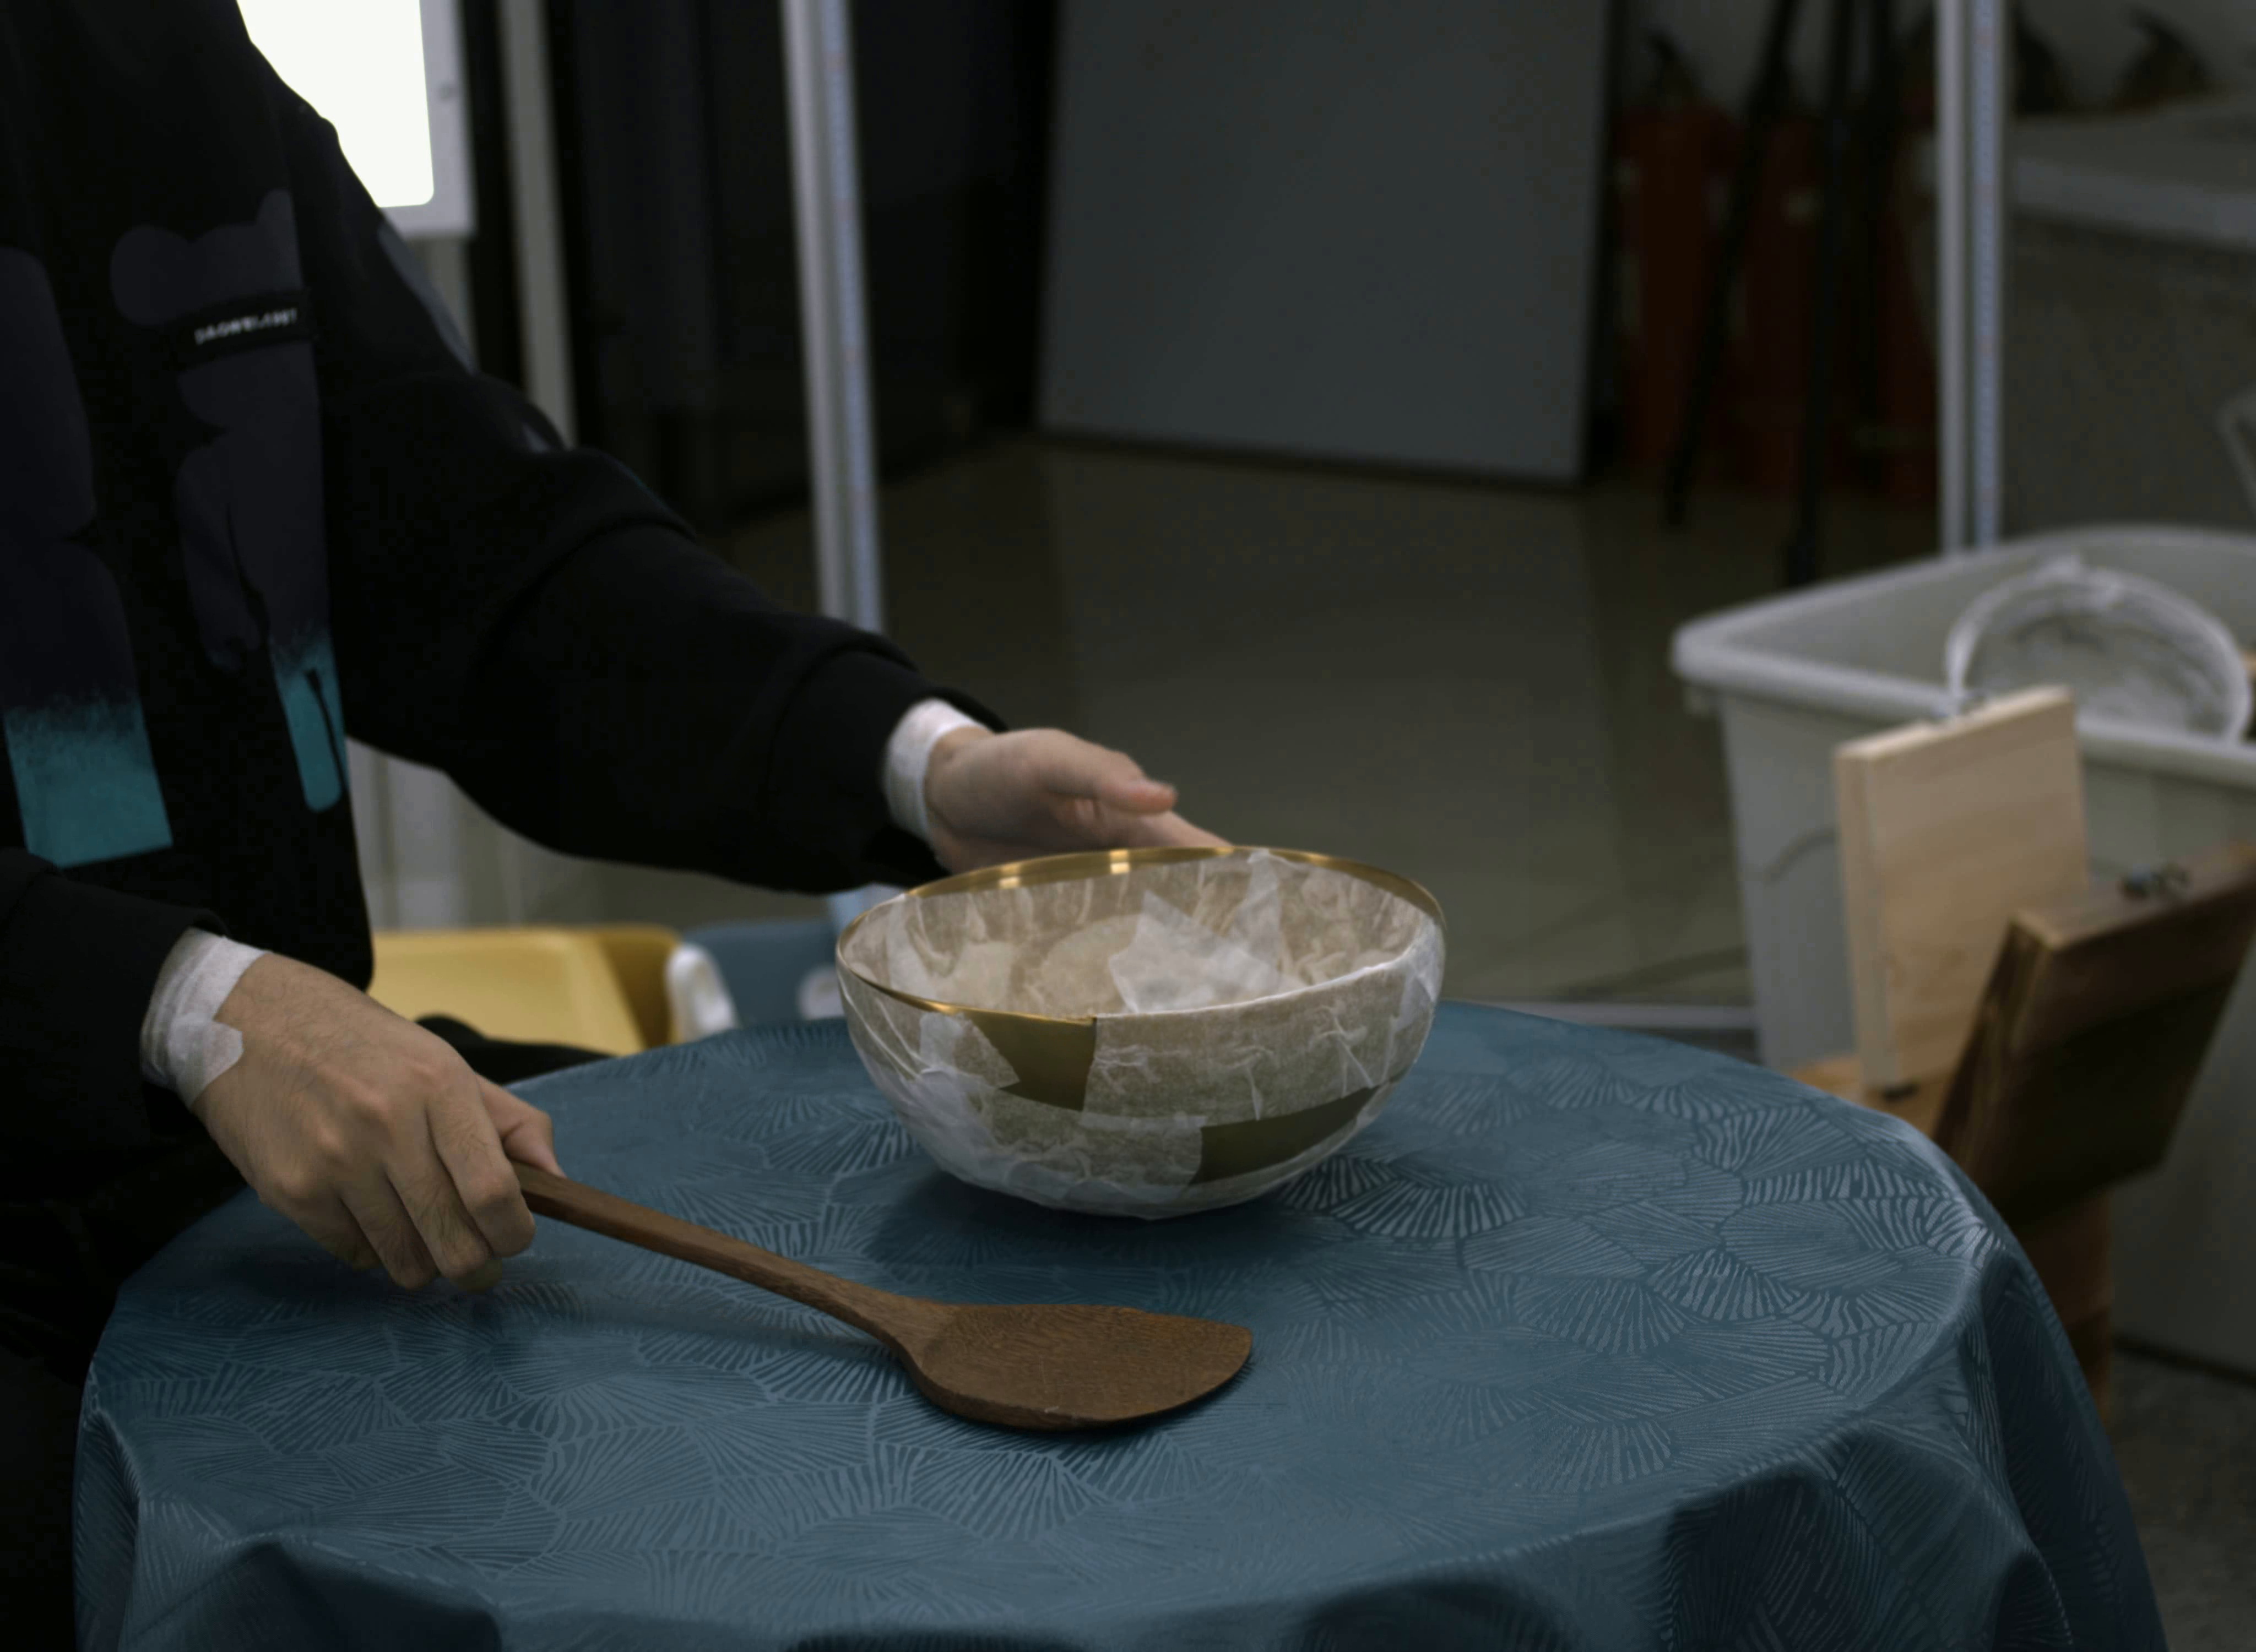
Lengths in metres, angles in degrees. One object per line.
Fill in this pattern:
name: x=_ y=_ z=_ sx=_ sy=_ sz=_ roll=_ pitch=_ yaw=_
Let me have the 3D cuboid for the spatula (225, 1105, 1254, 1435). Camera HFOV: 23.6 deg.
spatula: x=-0.135 y=0.132 z=1.674 sx=0.388 sy=0.016 sz=0.094 roll=14 pitch=20 yaw=33

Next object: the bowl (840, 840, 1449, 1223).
bowl: x=0.007 y=0.073 z=1.765 sx=0.212 sy=0.095 sz=0.215 roll=-6 pitch=14 yaw=1
